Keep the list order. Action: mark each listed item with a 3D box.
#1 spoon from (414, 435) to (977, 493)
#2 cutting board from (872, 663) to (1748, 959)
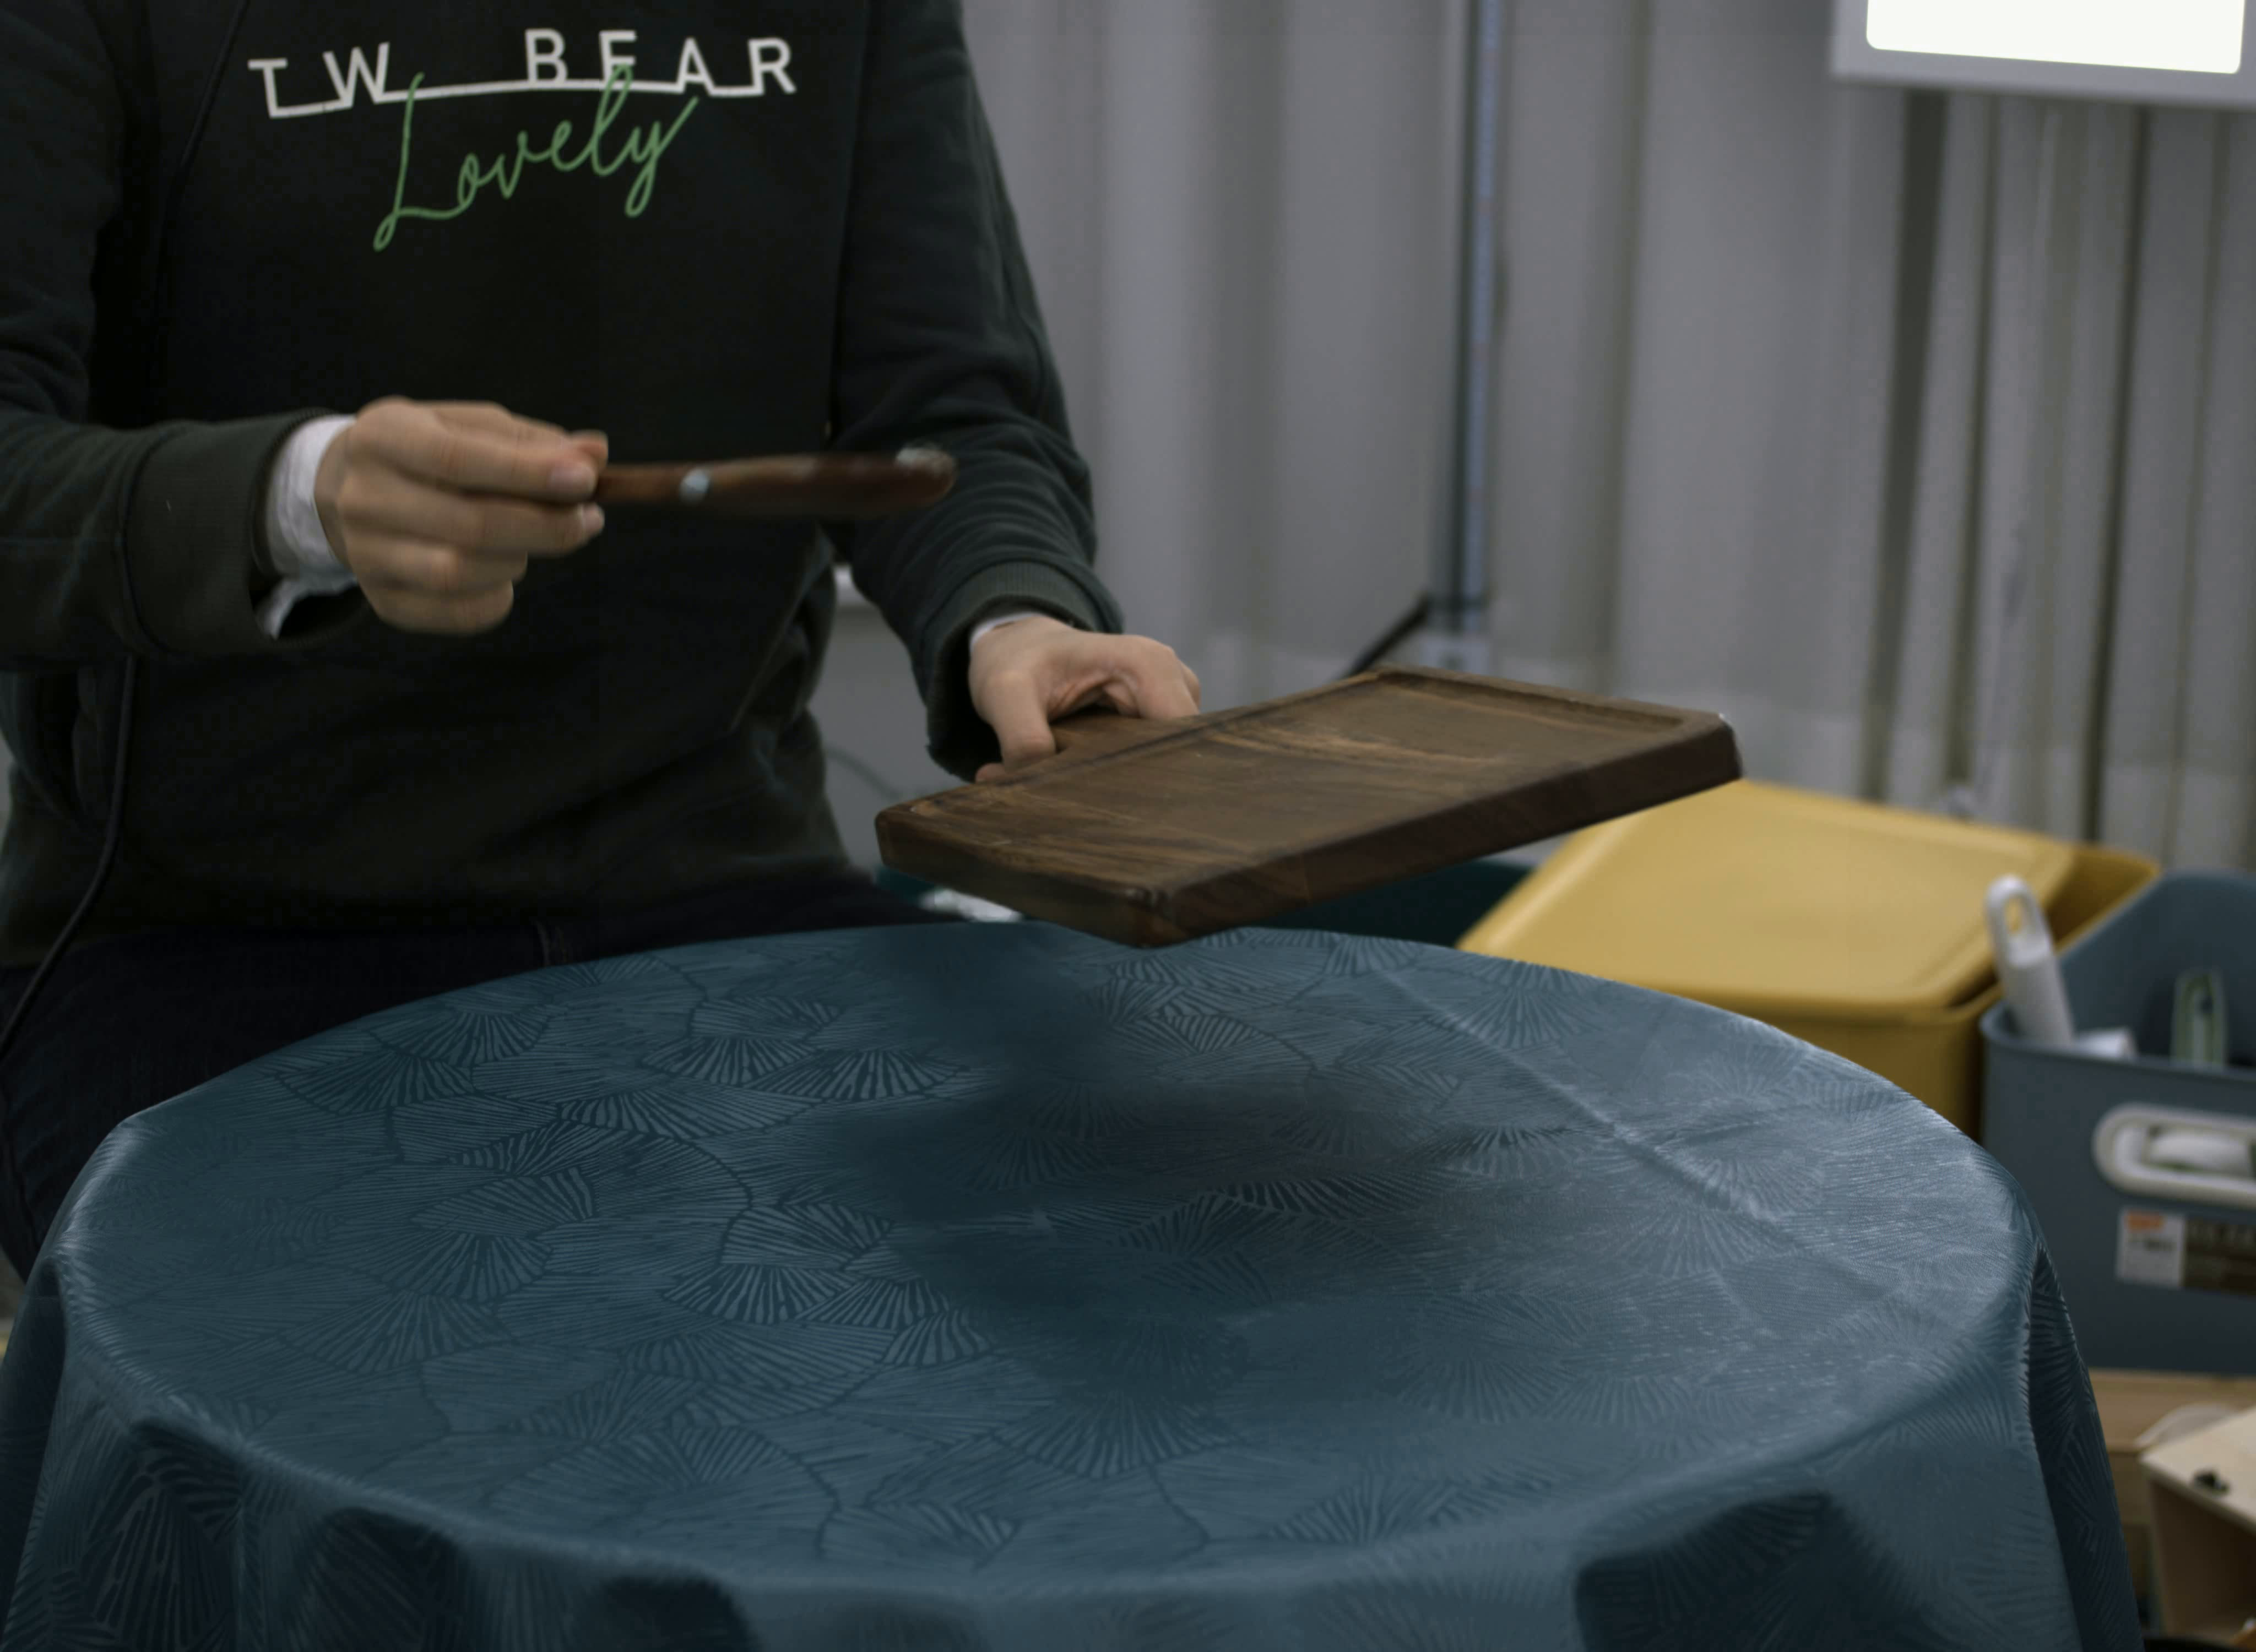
[{"bbox_3d":[-0.135,-0.108,1.569,0.213,0.017,0.076,3,5,39],"label":"spoon"},{"bbox_3d":[0.032,-0.013,1.661,0.201,0.023,0.349,-17,11,-19],"label":"cutting board"}]
